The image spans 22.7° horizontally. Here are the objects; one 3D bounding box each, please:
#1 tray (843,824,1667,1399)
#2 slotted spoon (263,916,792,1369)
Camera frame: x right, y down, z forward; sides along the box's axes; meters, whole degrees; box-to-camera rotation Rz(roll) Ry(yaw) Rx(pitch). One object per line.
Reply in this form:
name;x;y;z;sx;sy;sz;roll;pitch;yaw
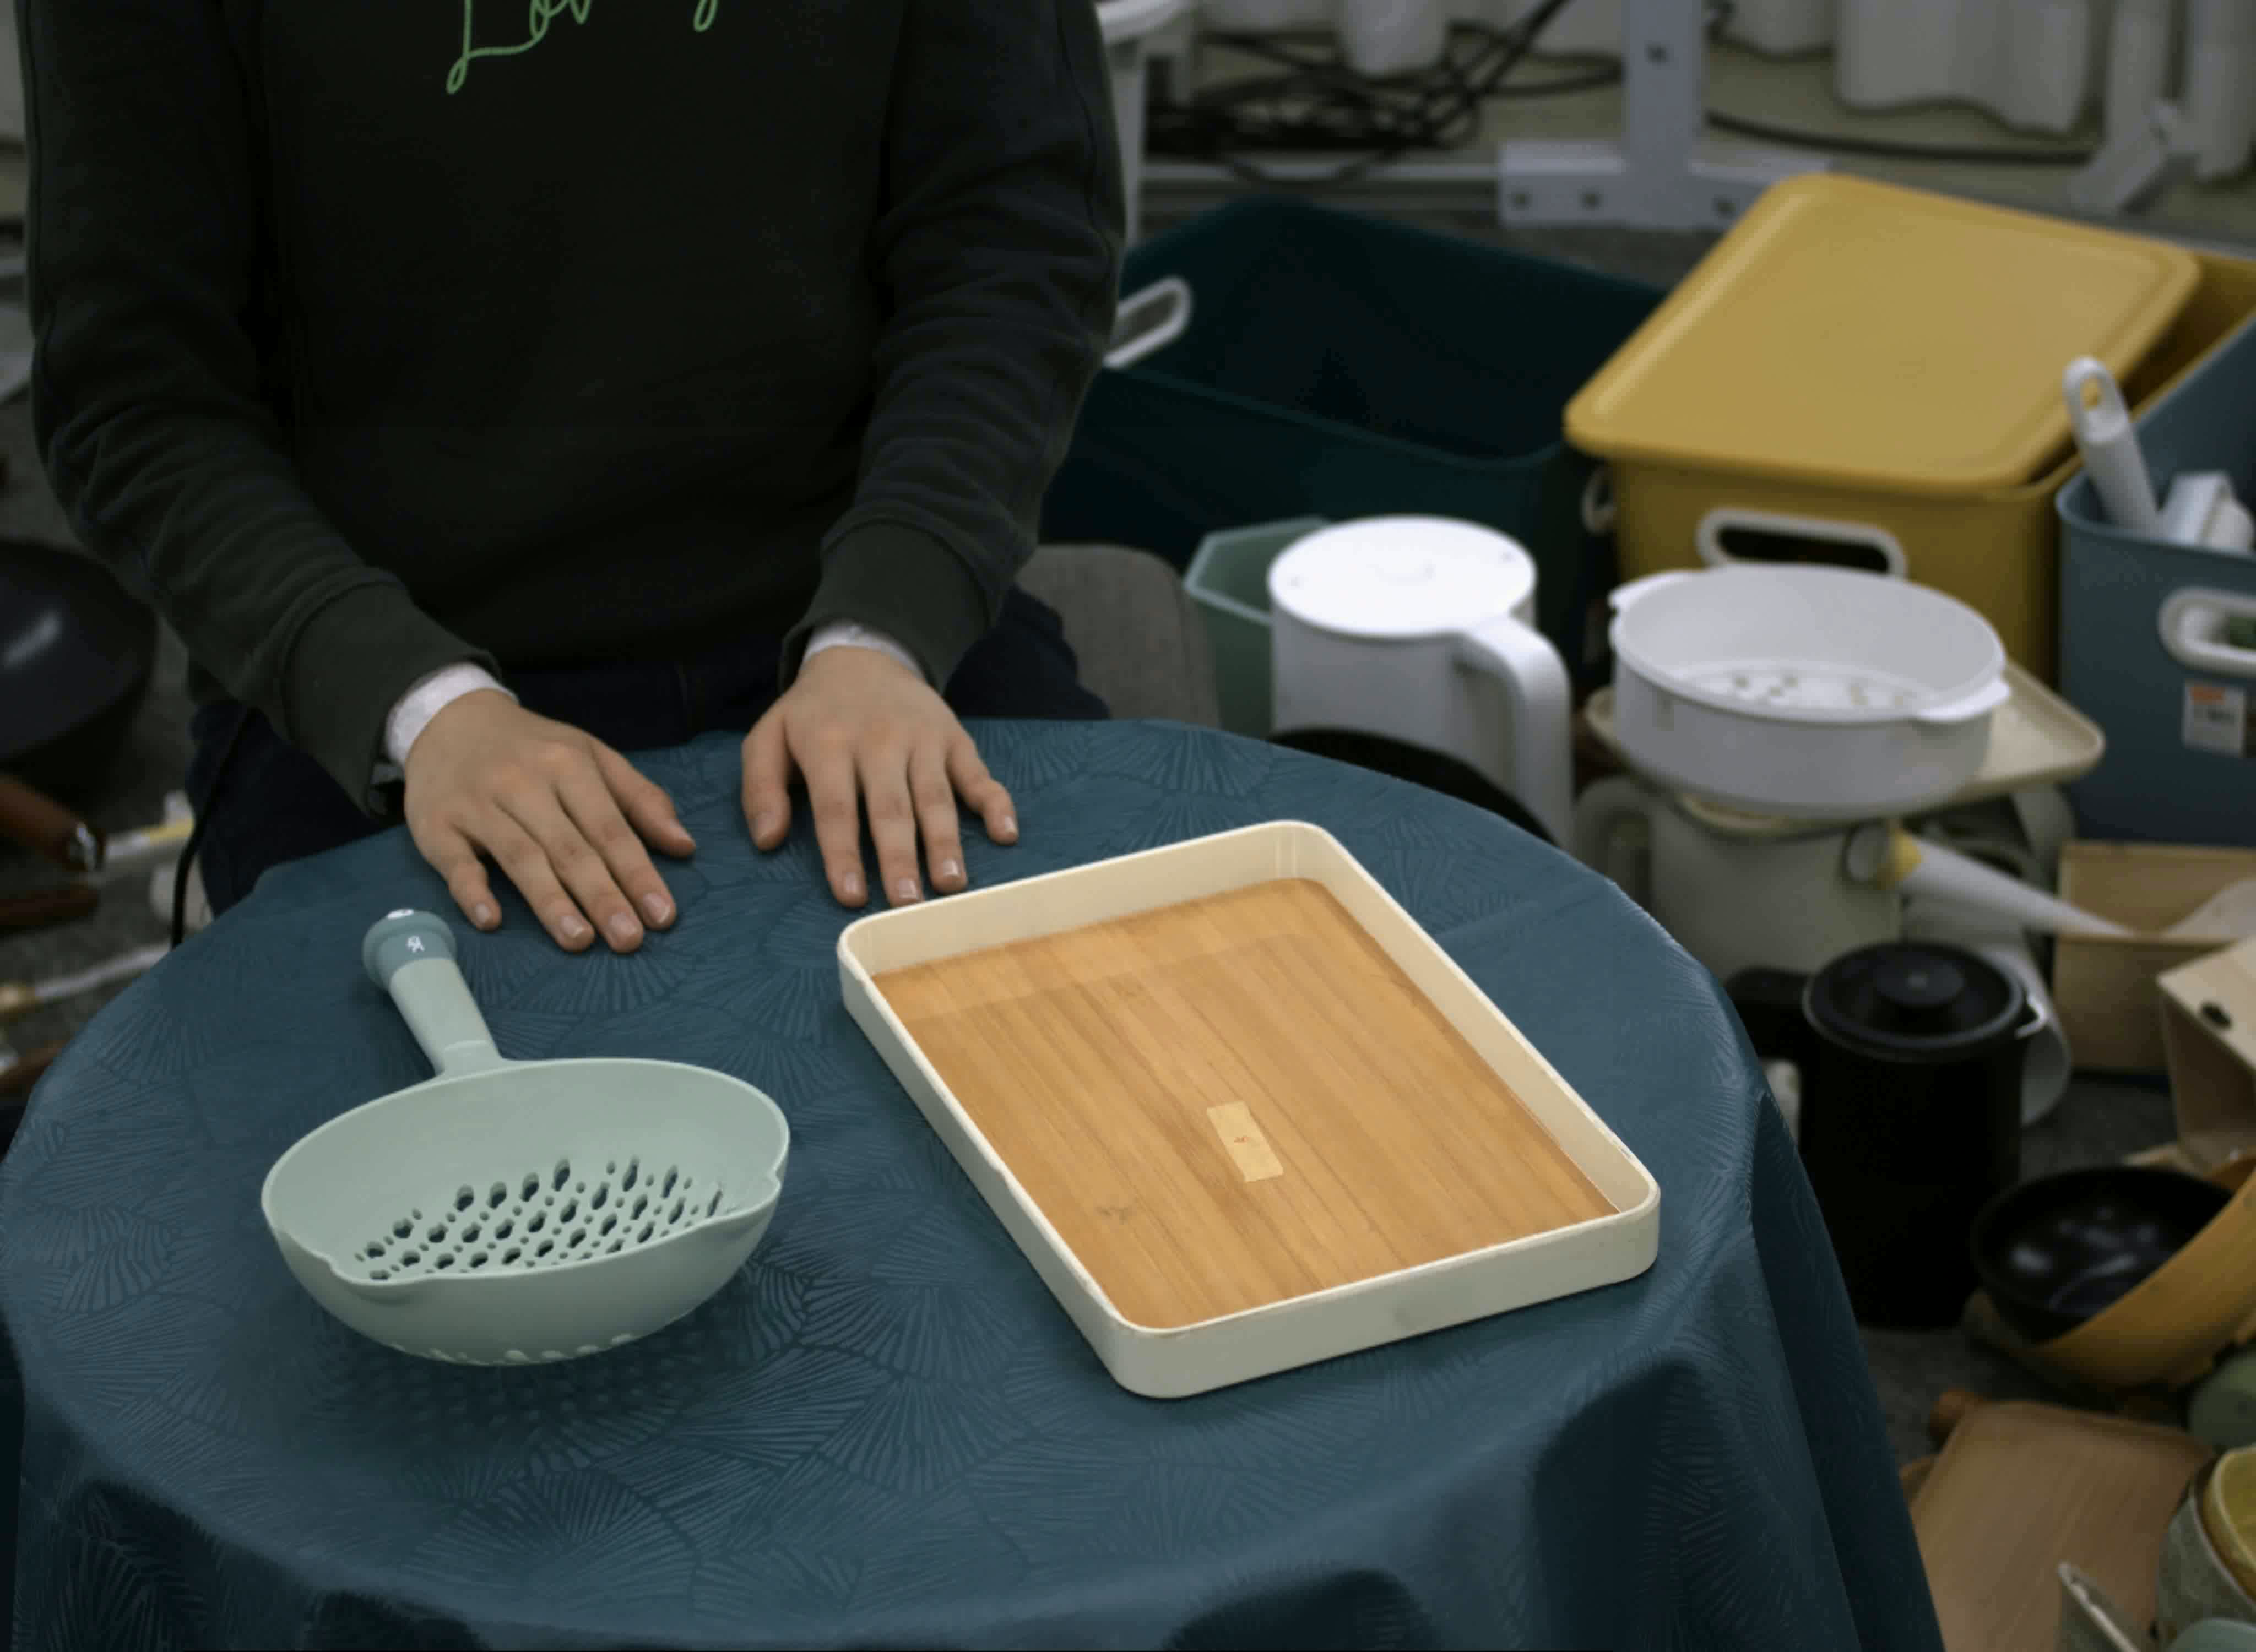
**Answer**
tray;0.036;0.090;1.891;0.192;0.027;0.303;-12;29;-18
slotted spoon;-0.216;0.090;1.876;0.169;0.074;0.362;-9;28;-14
